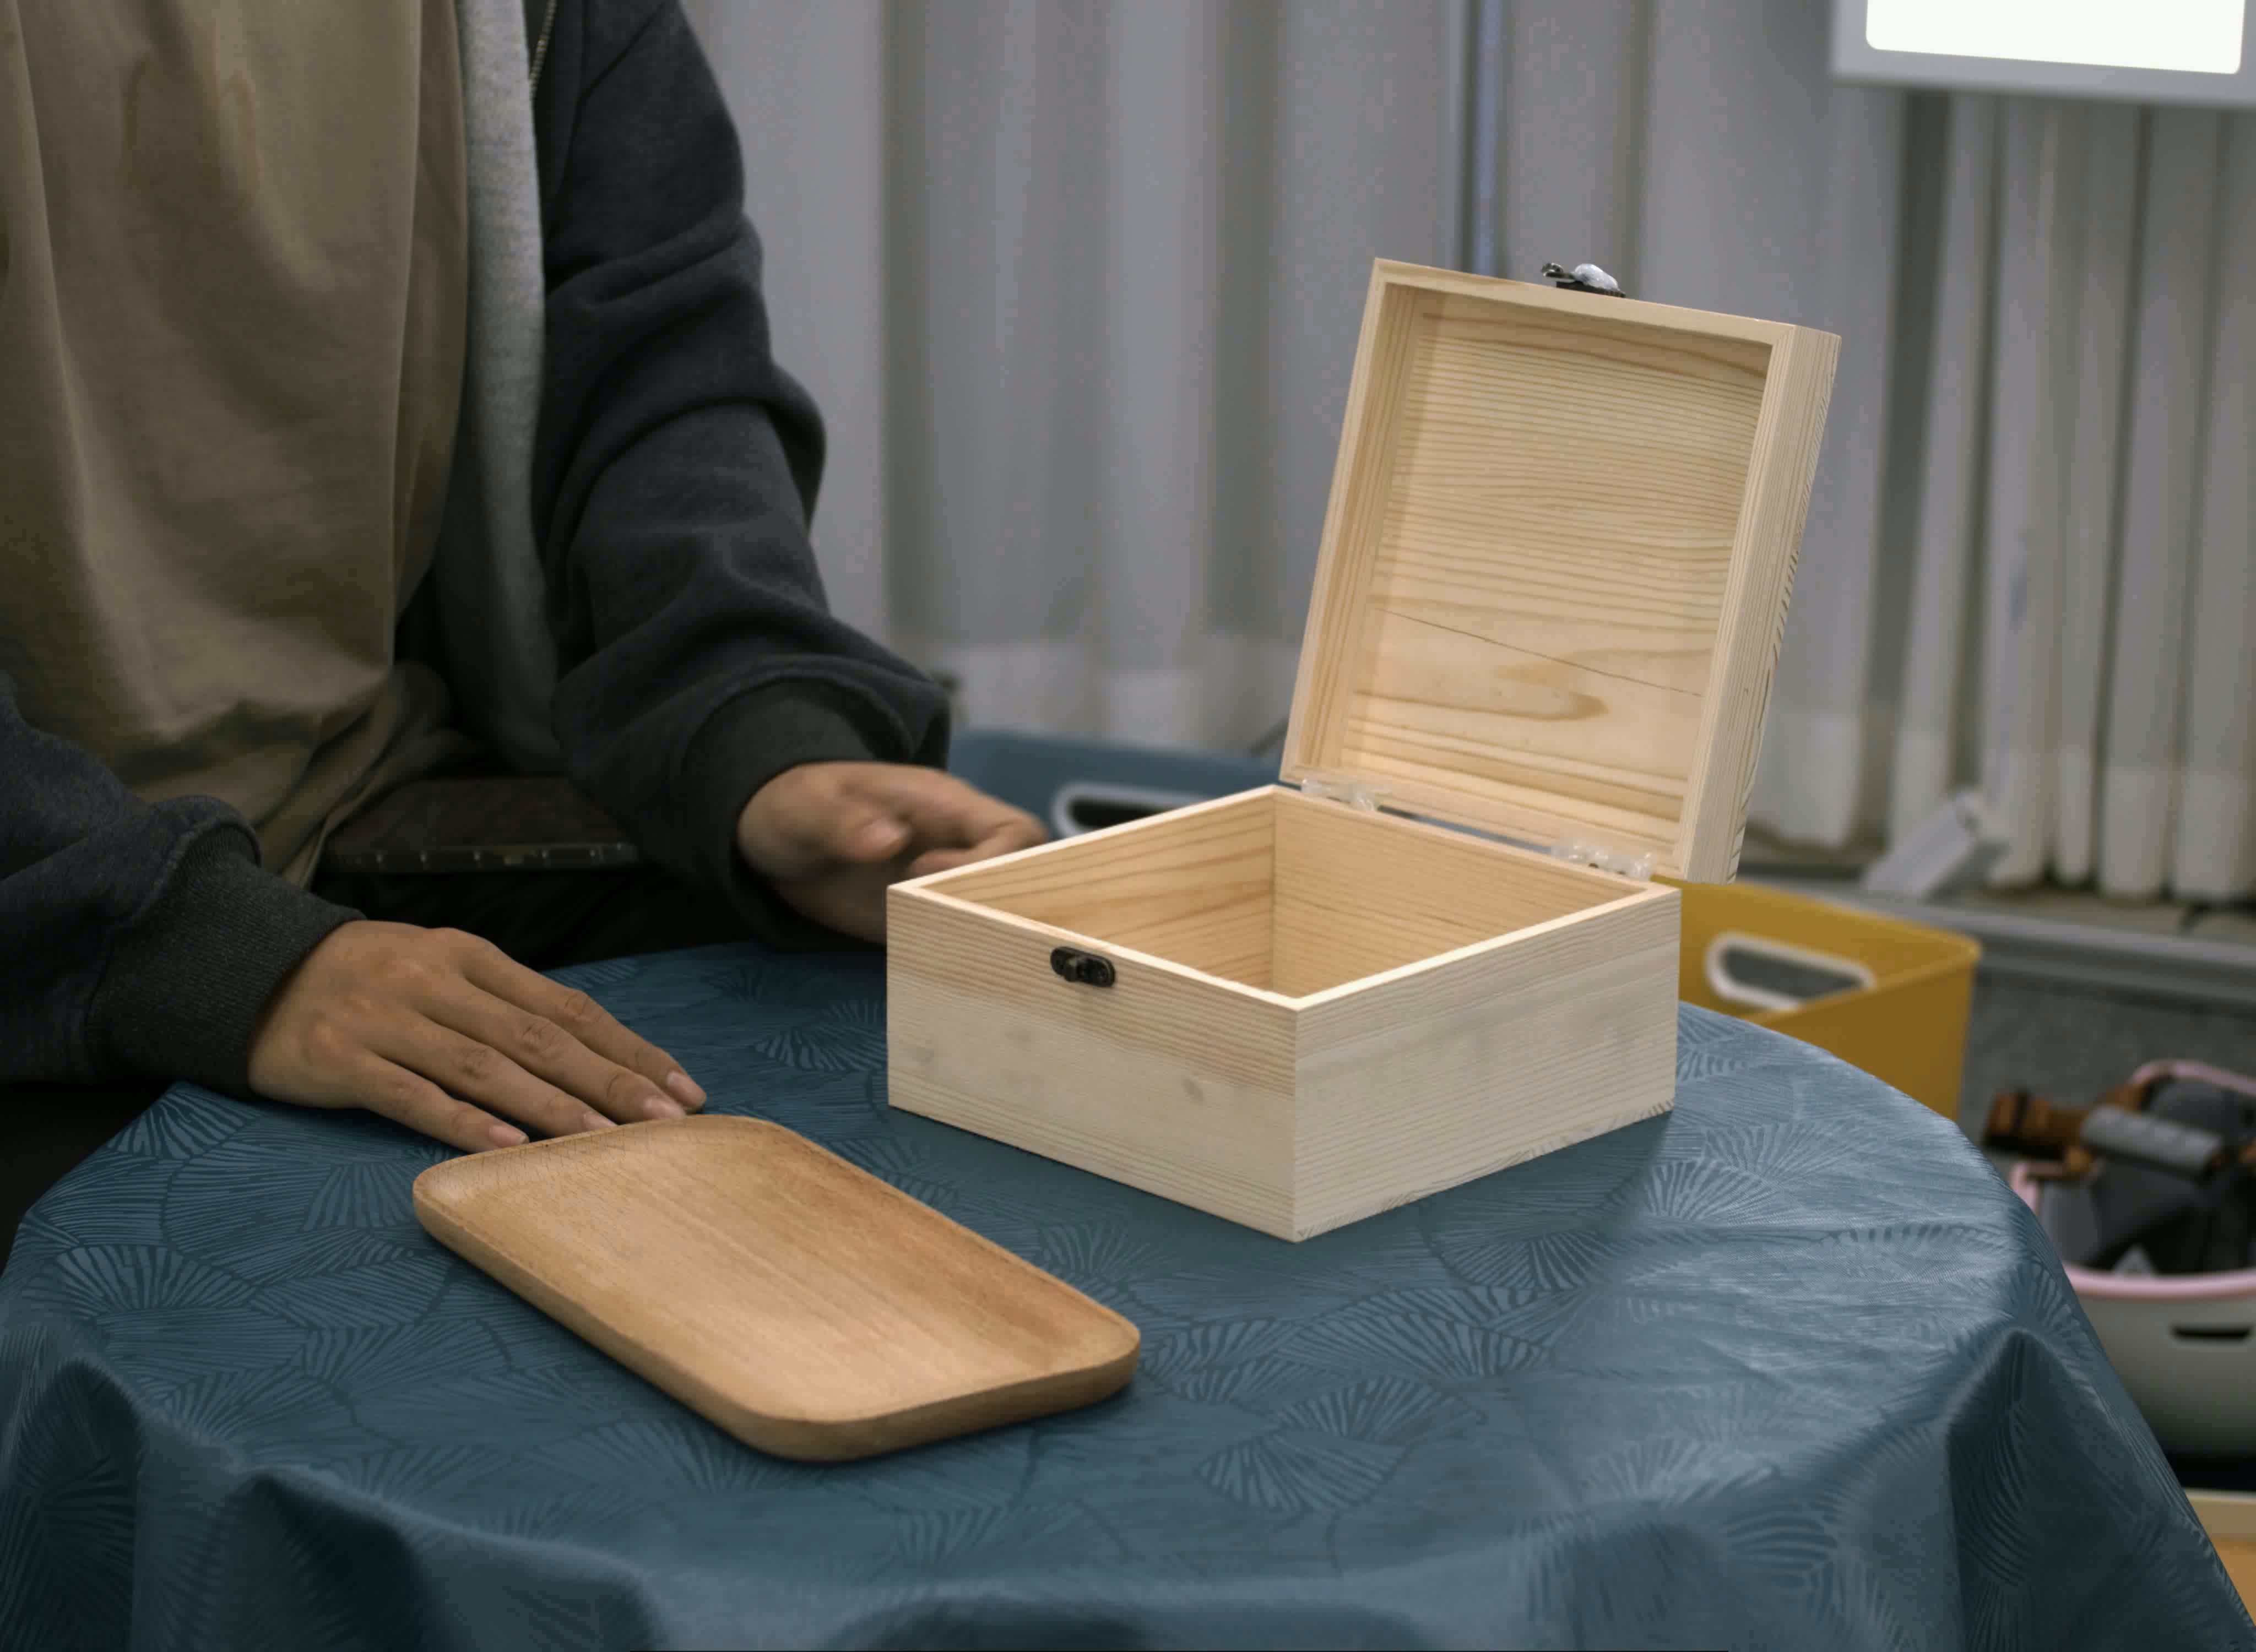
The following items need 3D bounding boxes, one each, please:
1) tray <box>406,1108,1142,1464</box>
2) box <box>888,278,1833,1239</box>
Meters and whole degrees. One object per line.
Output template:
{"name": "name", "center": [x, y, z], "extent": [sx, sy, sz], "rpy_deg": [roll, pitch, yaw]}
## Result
{"name": "tray", "center": [-0.106, 0.130, 1.523], "extent": [0.131, 0.023, 0.247], "rpy_deg": [-6, 16, -32]}
{"name": "box", "center": [0.074, -0.033, 1.691], "extent": [0.179, 0.255, 0.266], "rpy_deg": [12, 19, 42]}
